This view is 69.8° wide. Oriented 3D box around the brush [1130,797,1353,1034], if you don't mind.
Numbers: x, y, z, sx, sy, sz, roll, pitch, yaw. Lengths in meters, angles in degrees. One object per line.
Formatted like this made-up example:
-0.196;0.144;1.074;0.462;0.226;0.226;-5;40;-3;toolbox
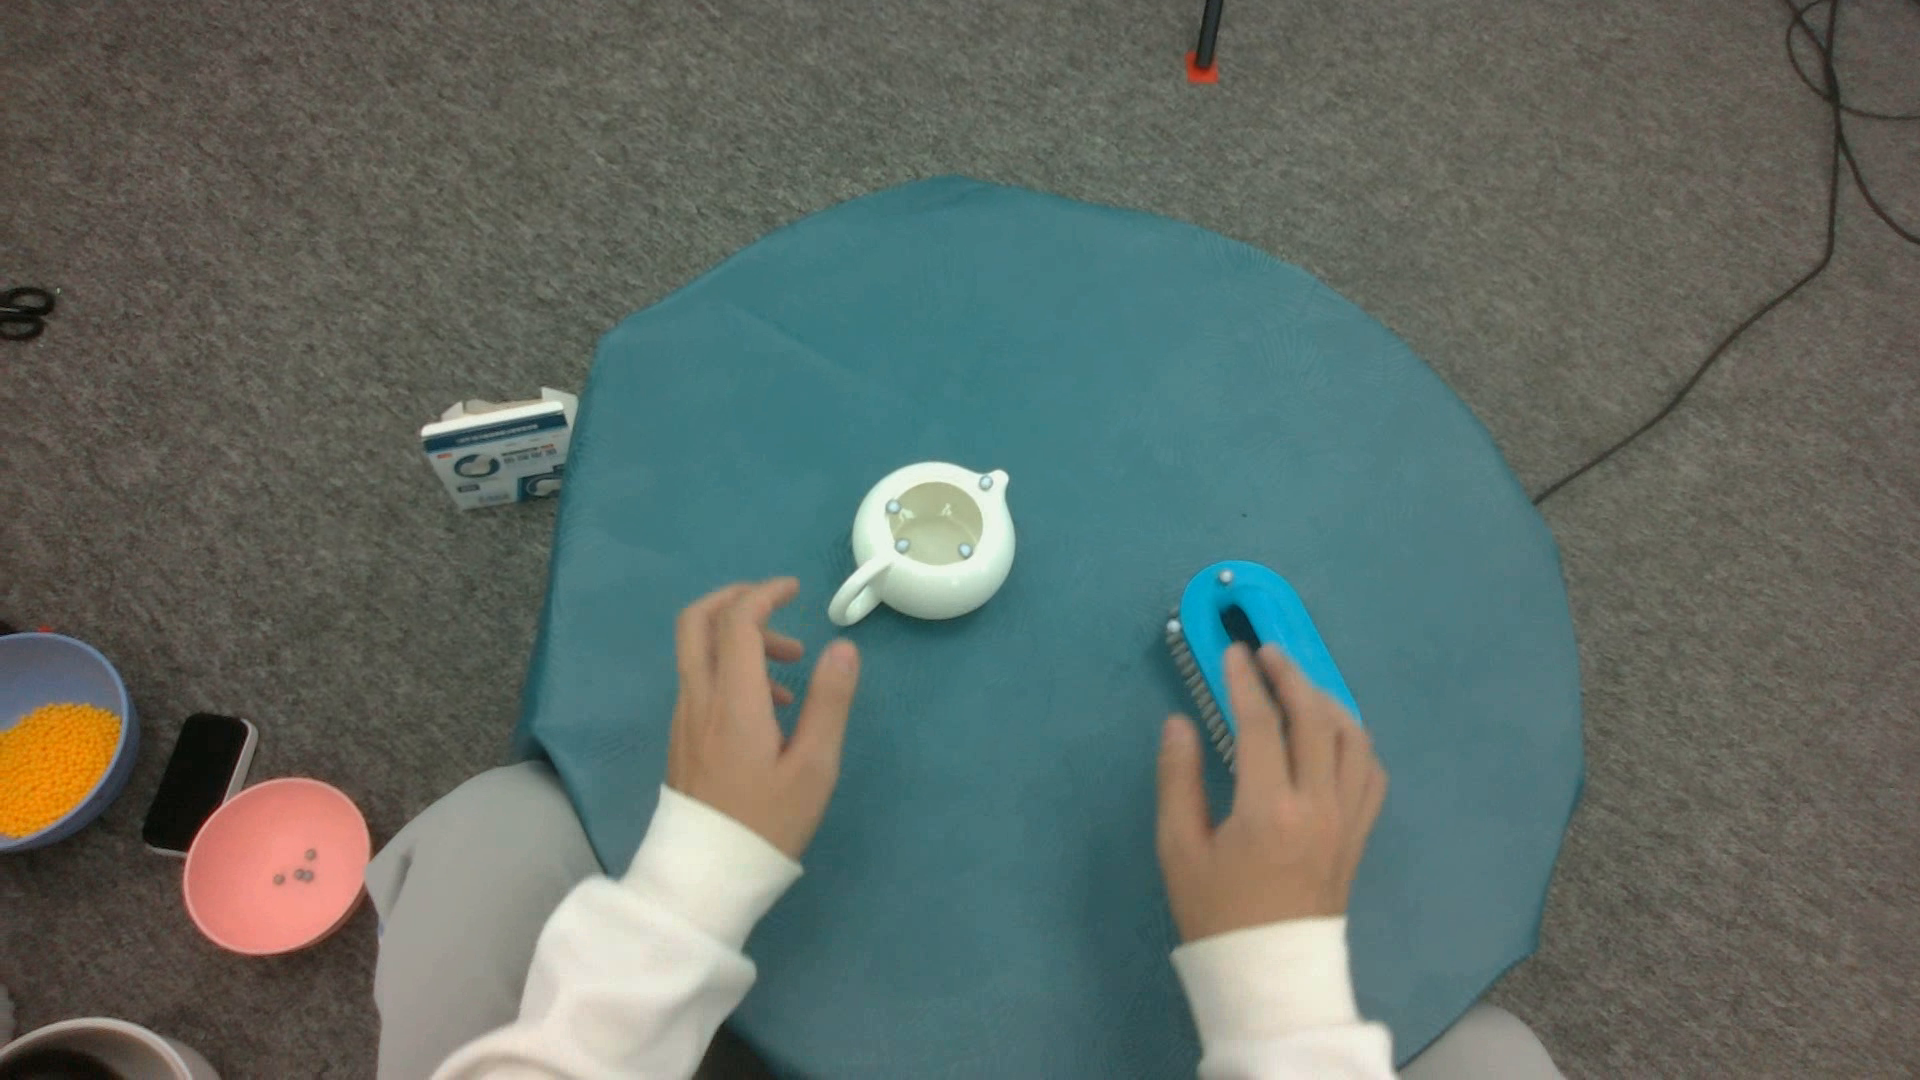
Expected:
0.158;0.196;0.763;0.084;0.063;0.142;-26;54;-23;brush

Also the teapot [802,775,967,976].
-0.048;0.192;0.785;0.093;0.056;0.128;26;58;17;teapot
